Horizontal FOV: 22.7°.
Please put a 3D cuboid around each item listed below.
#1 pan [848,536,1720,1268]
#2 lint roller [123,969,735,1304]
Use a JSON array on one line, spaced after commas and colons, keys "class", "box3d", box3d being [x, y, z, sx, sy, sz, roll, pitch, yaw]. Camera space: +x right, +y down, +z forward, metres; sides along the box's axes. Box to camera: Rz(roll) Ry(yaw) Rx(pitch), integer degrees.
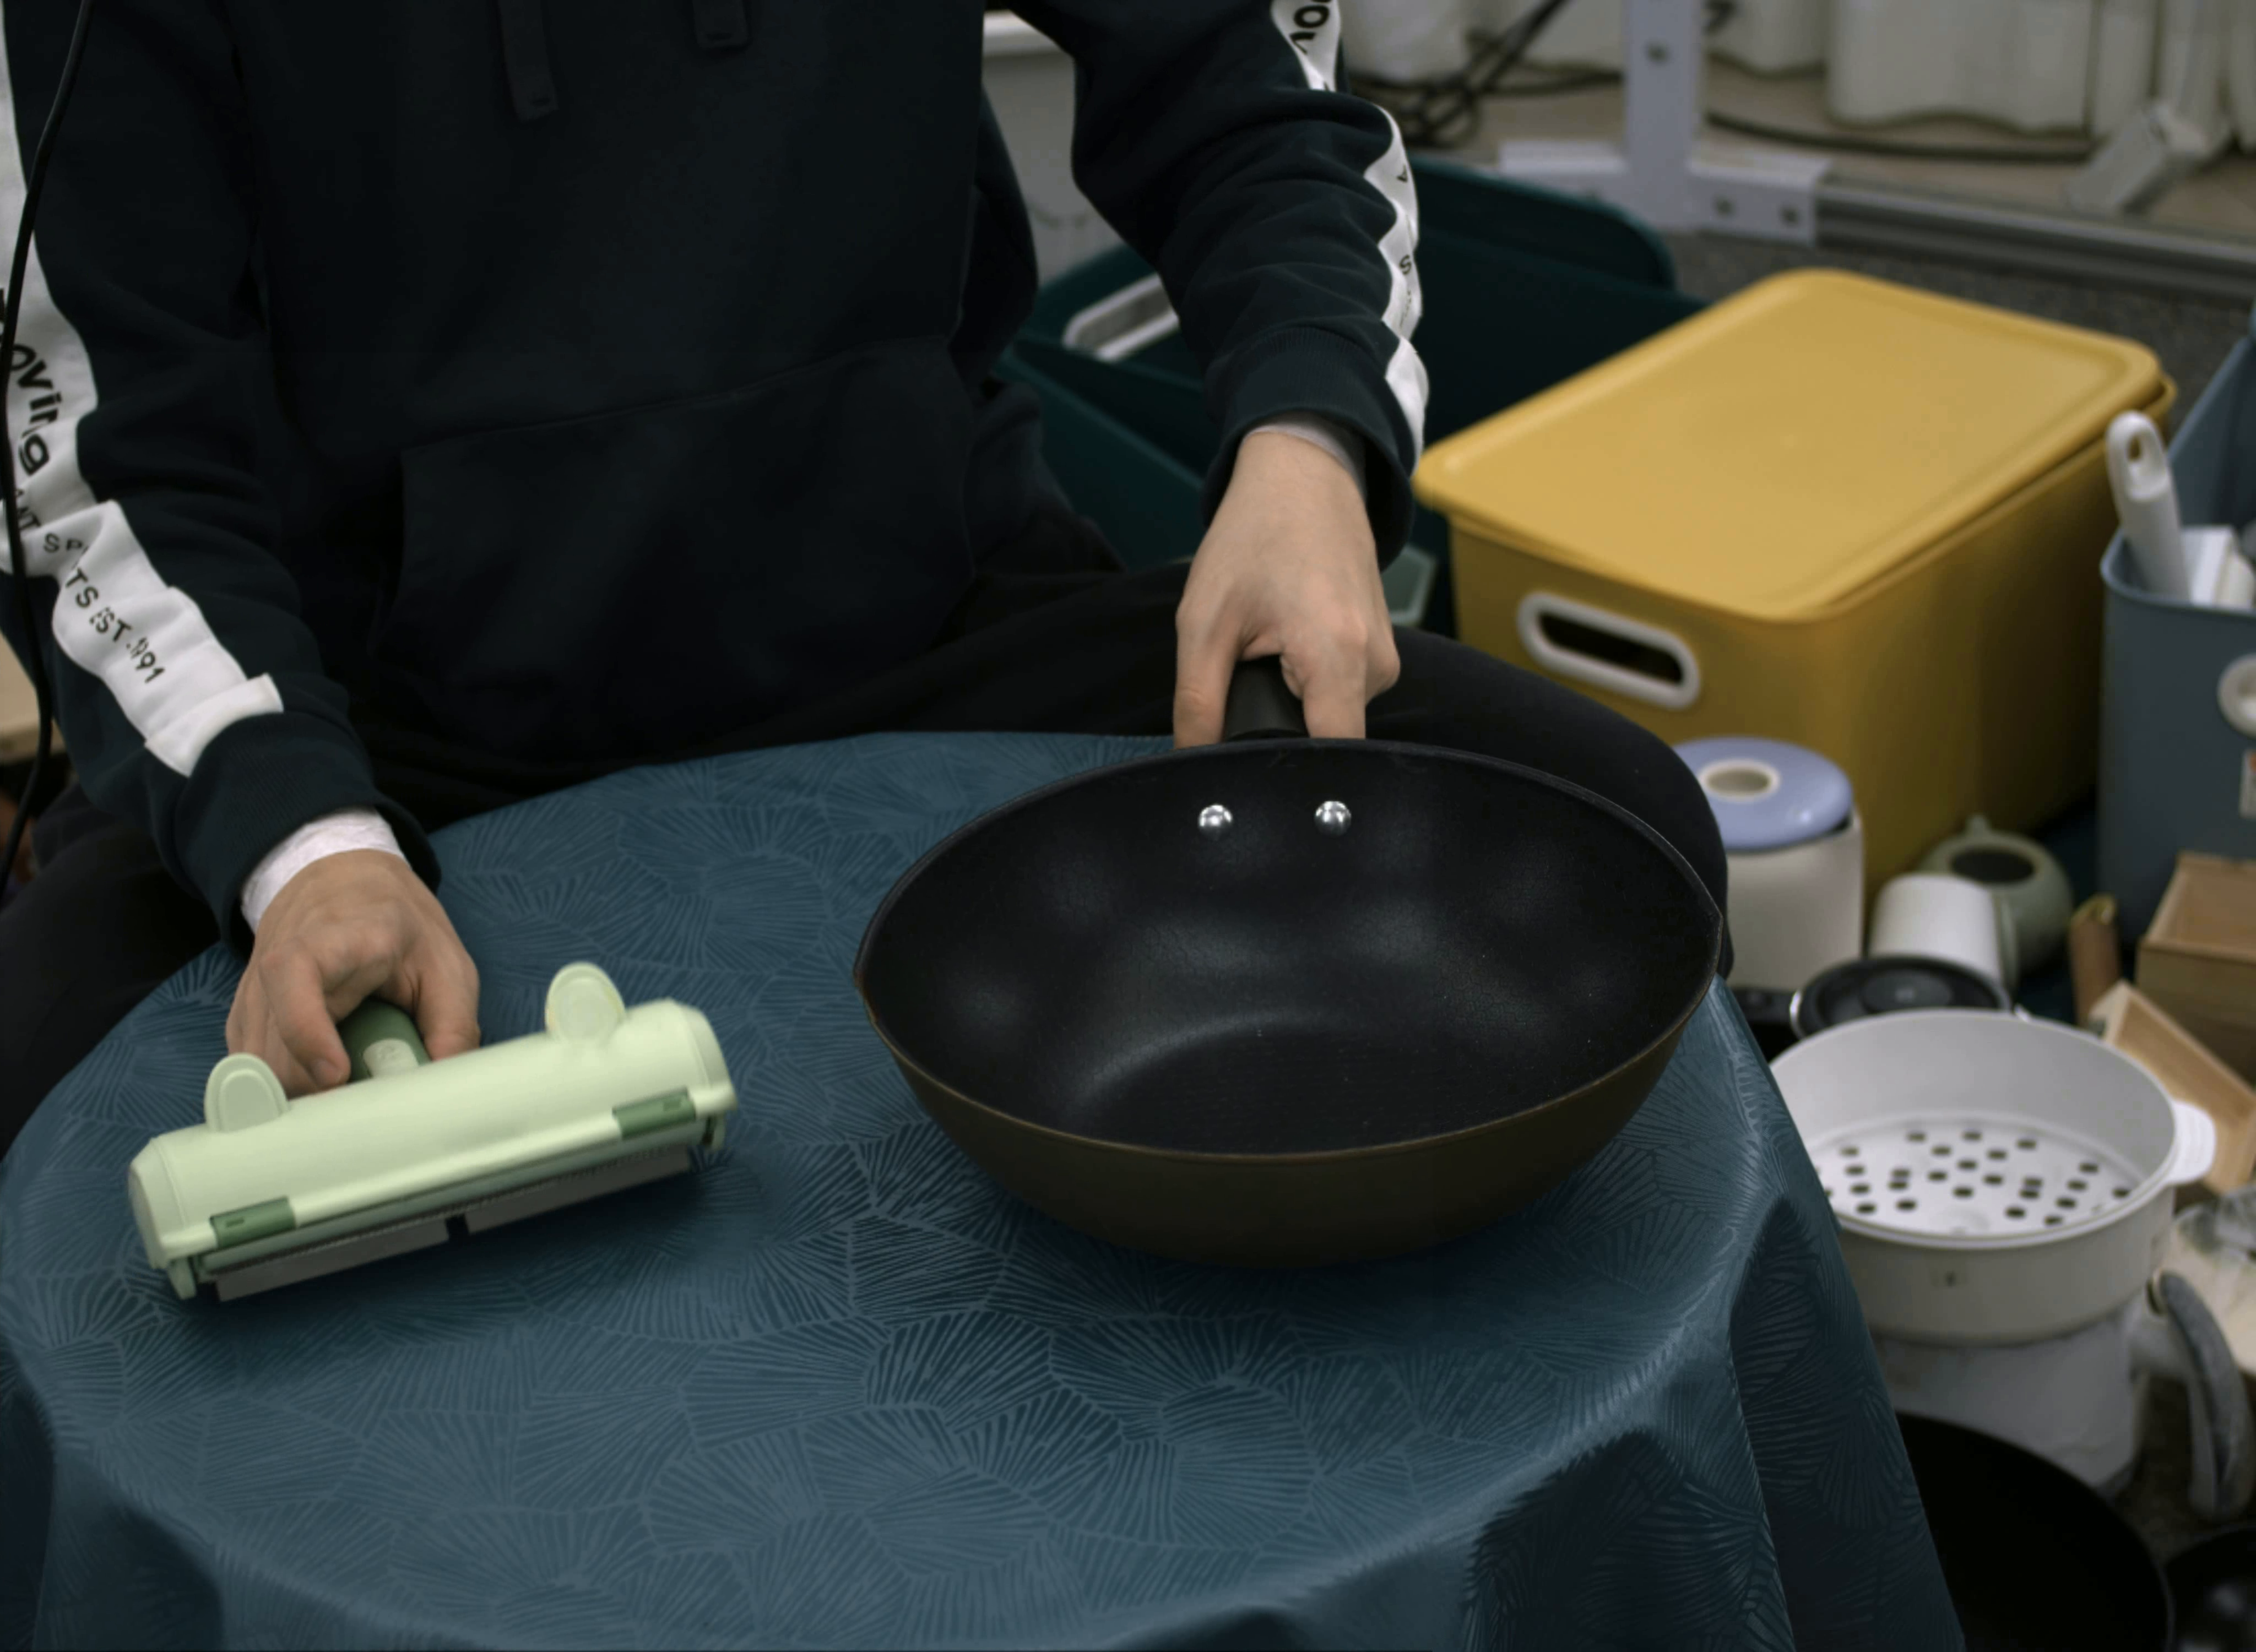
[{"class": "pan", "box3d": [0.050, 0.028, 1.945, 0.287, 0.086, 0.470, -3, 27, -1]}, {"class": "lint roller", "box3d": [-0.249, 0.076, 1.882, 0.199, 0.081, 0.185, -14, 32, -17]}]
